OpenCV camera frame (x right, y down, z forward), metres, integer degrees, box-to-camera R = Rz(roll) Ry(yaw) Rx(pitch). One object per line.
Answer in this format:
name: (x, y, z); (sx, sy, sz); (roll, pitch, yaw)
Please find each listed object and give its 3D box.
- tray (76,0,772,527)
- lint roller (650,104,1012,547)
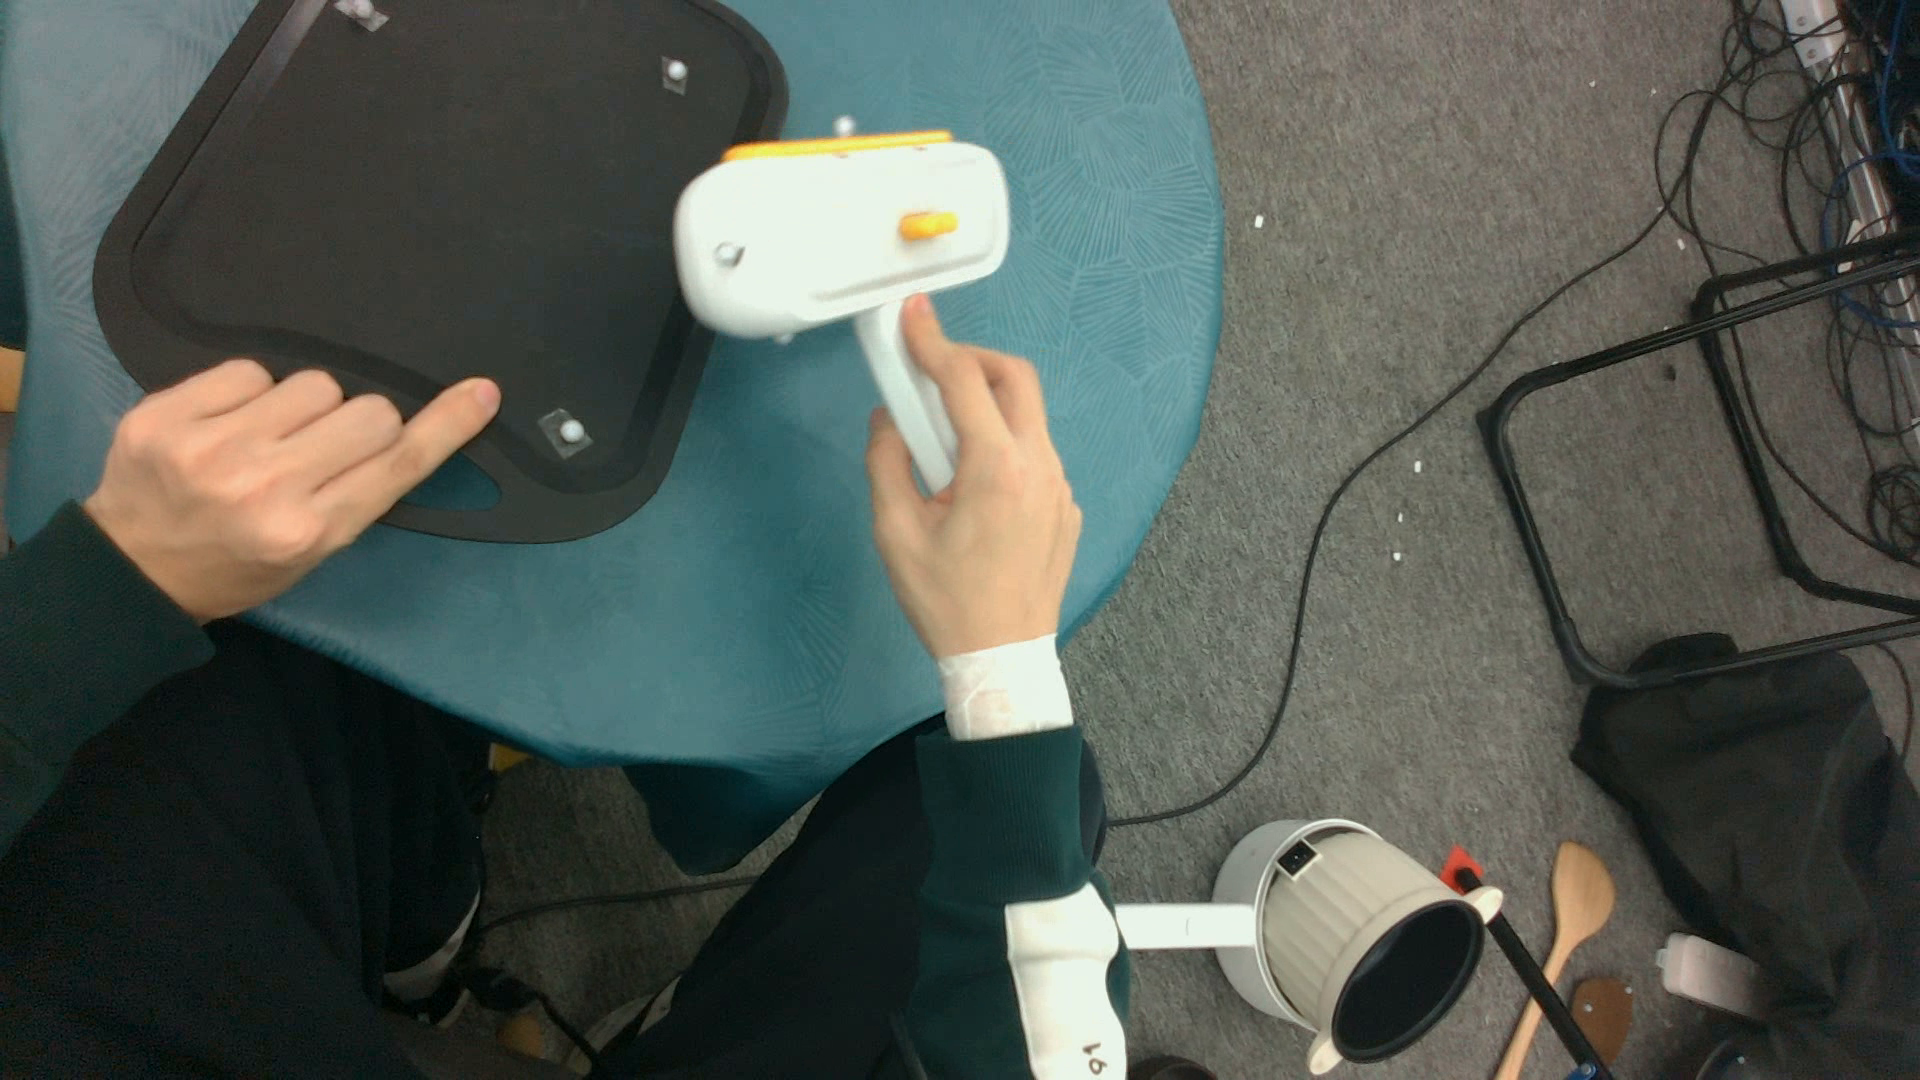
tray: (-0.198, -0.155, 0.567); (0.211, 0.010, 0.327); (23, 56, -21)
lint roller: (-0.032, -0.084, 0.590); (0.194, 0.074, 0.192); (-43, 119, -58)
